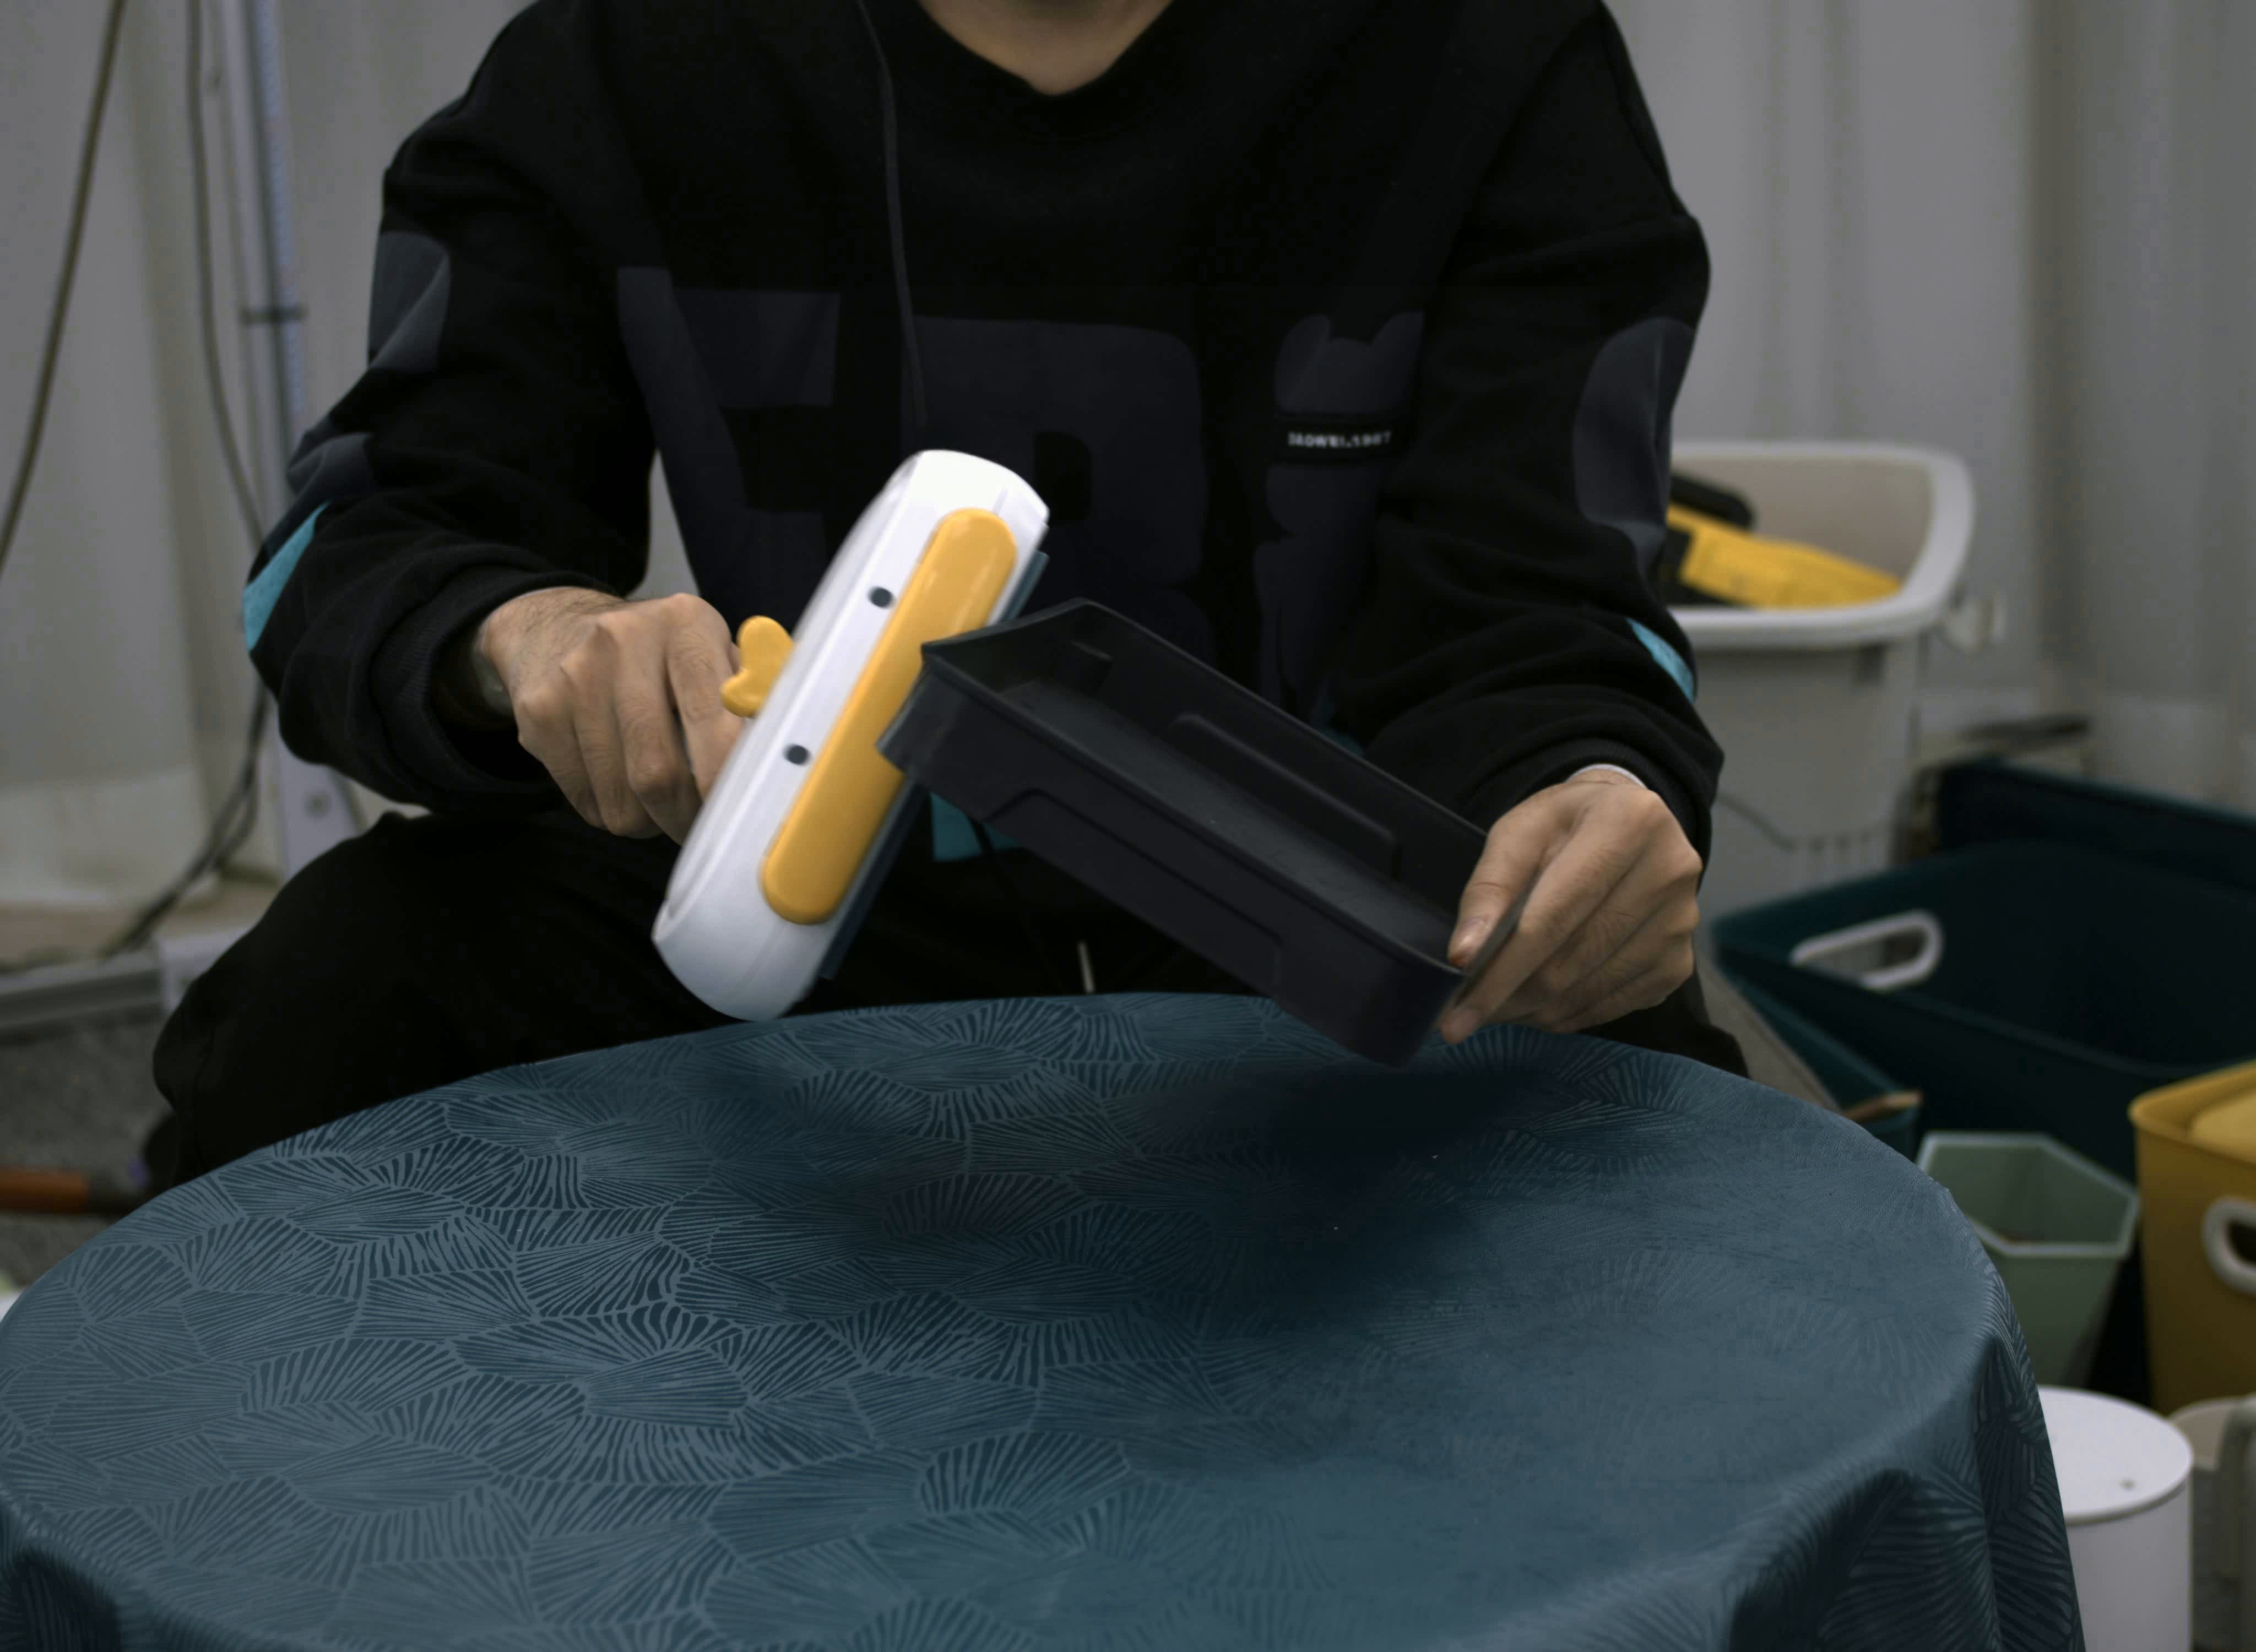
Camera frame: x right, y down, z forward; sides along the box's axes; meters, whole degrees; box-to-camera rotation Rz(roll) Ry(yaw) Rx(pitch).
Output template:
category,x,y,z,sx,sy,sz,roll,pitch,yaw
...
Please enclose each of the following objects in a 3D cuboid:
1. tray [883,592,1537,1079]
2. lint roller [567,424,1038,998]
category,x,y,z,sx,sy,sz,roll,pitch,yaw
tray,0.031,-0.003,1.687,0.184,0.037,0.318,31,9,4
lint roller,-0.117,-0.030,1.735,0.073,0.195,0.192,29,-22,-19
